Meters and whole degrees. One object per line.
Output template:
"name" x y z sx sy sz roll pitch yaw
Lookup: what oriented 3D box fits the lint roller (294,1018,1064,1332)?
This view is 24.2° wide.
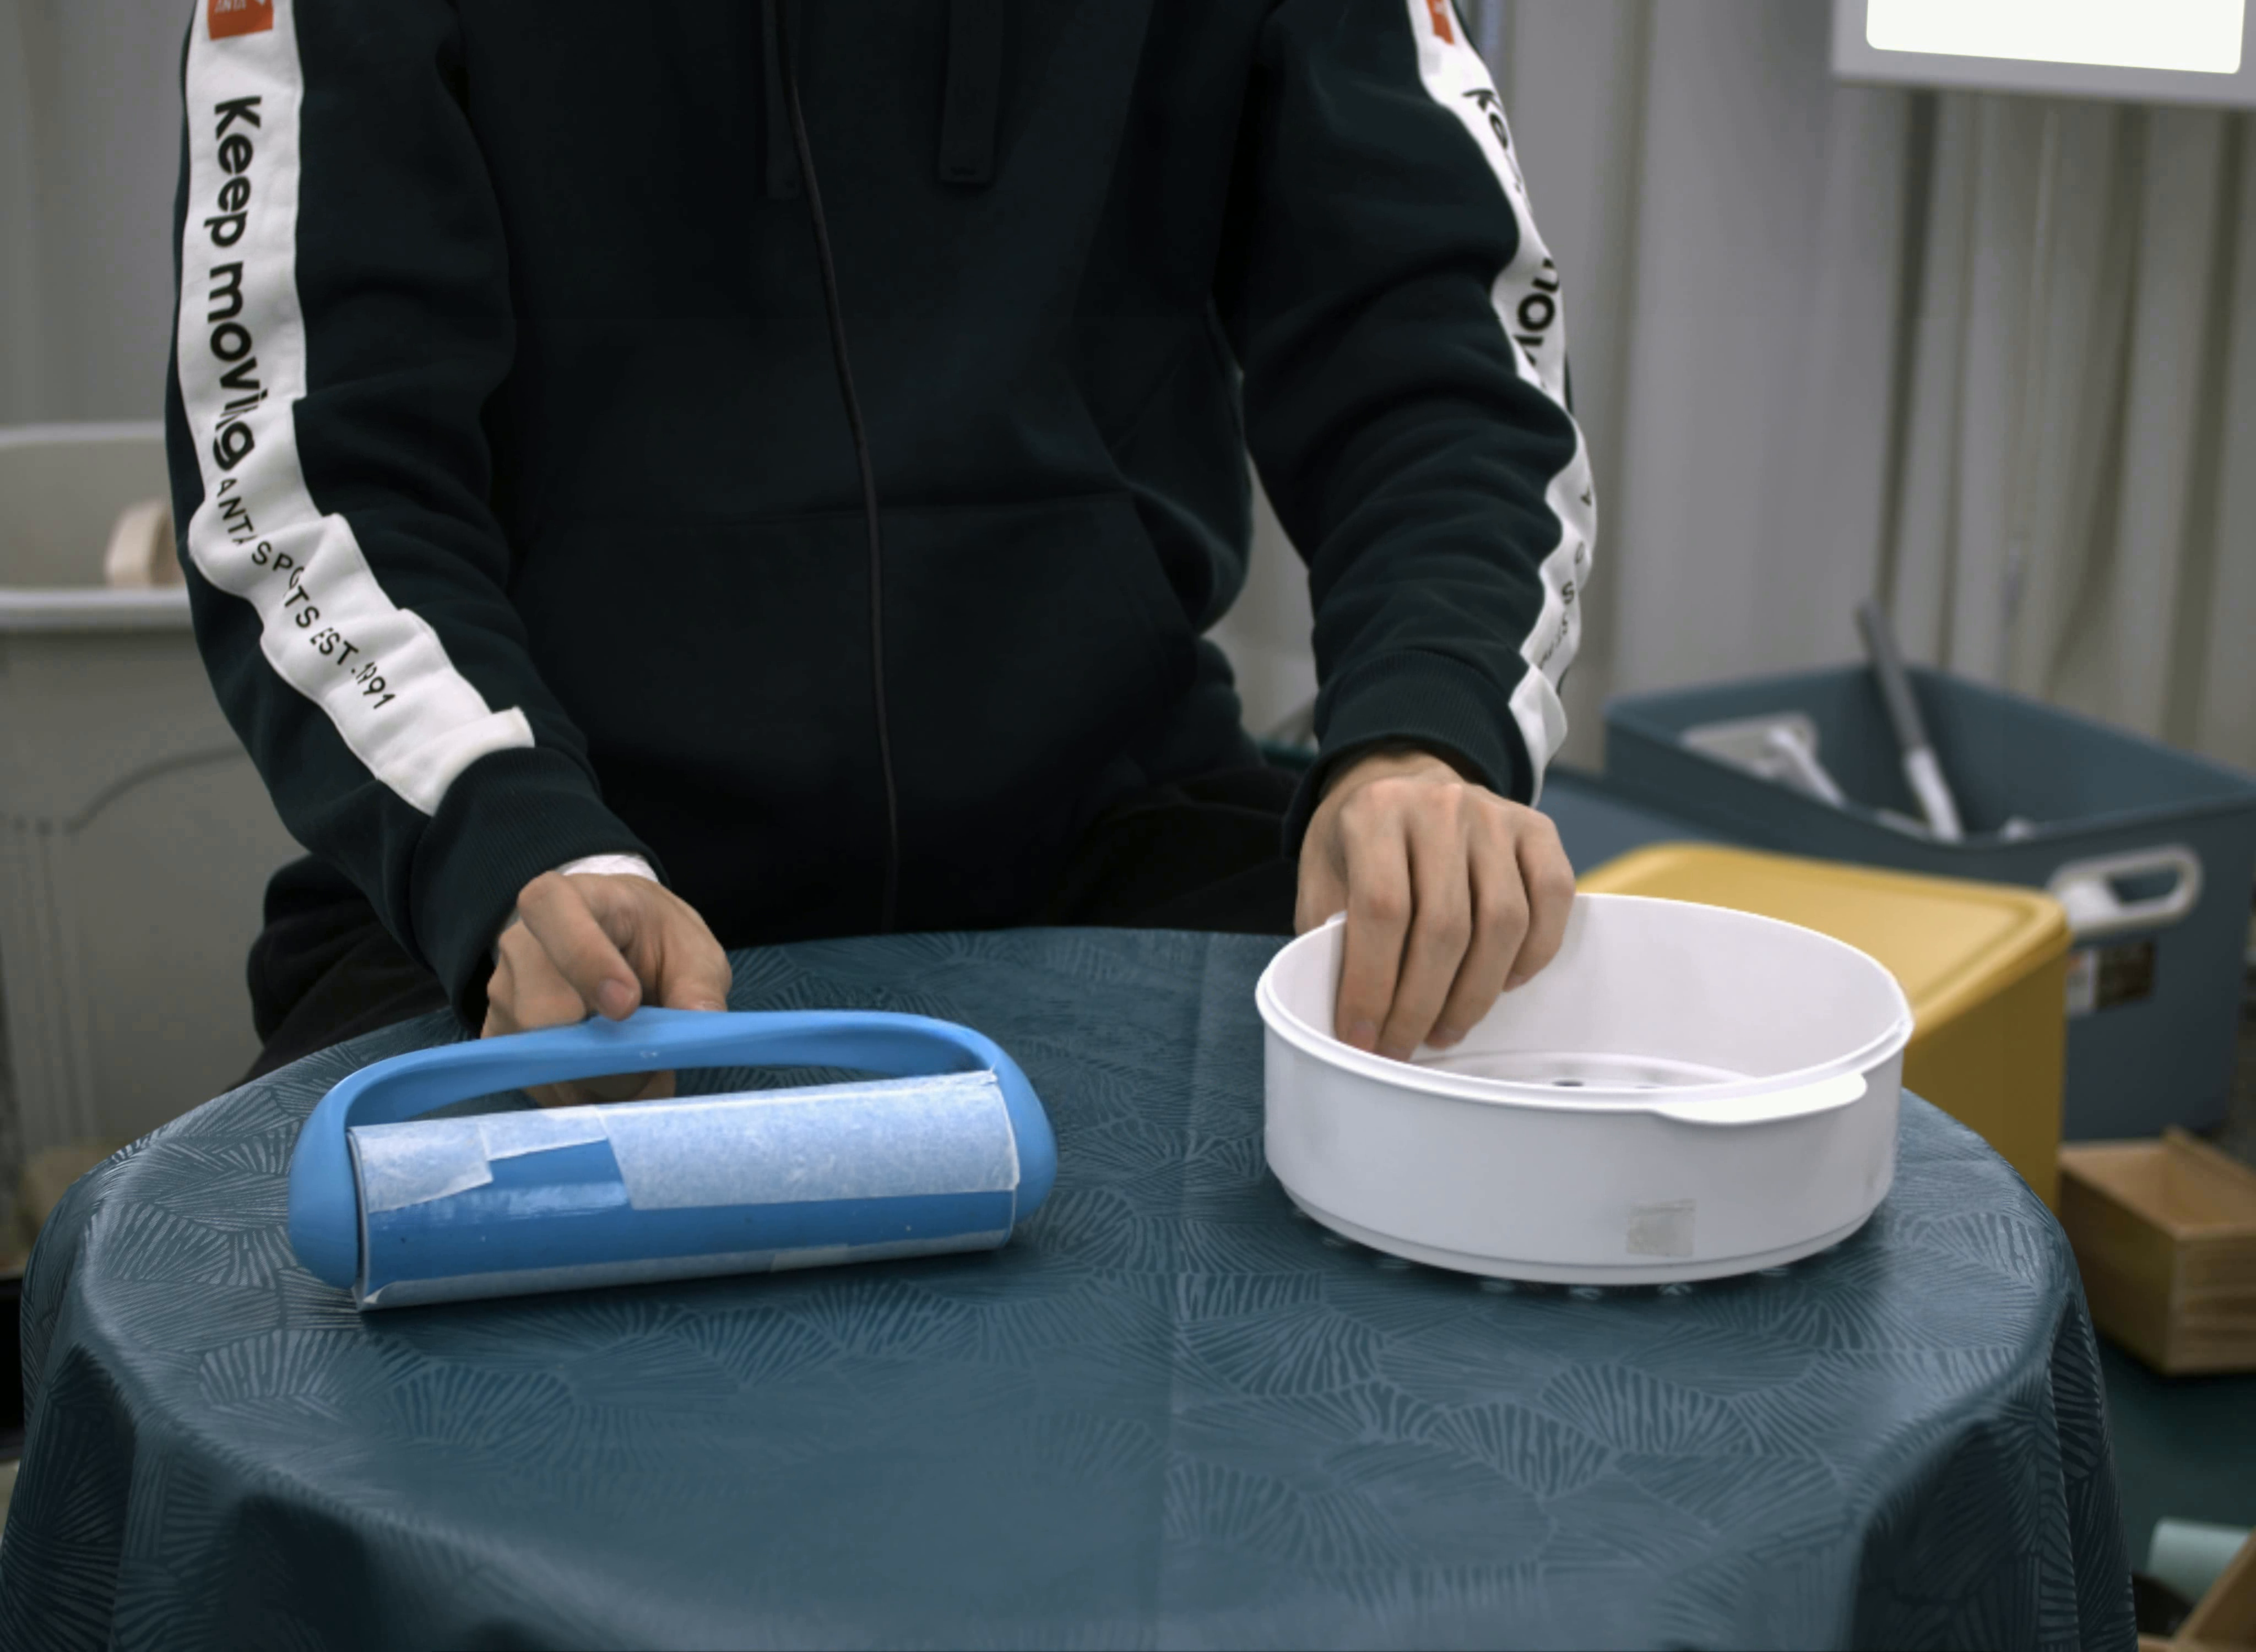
"lint roller" -0.149 0.090 1.586 0.229 0.068 0.178 -8 20 -19

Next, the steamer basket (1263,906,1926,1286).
"steamer basket" 0.141 0.081 1.605 0.203 0.070 0.228 -7 16 -27
